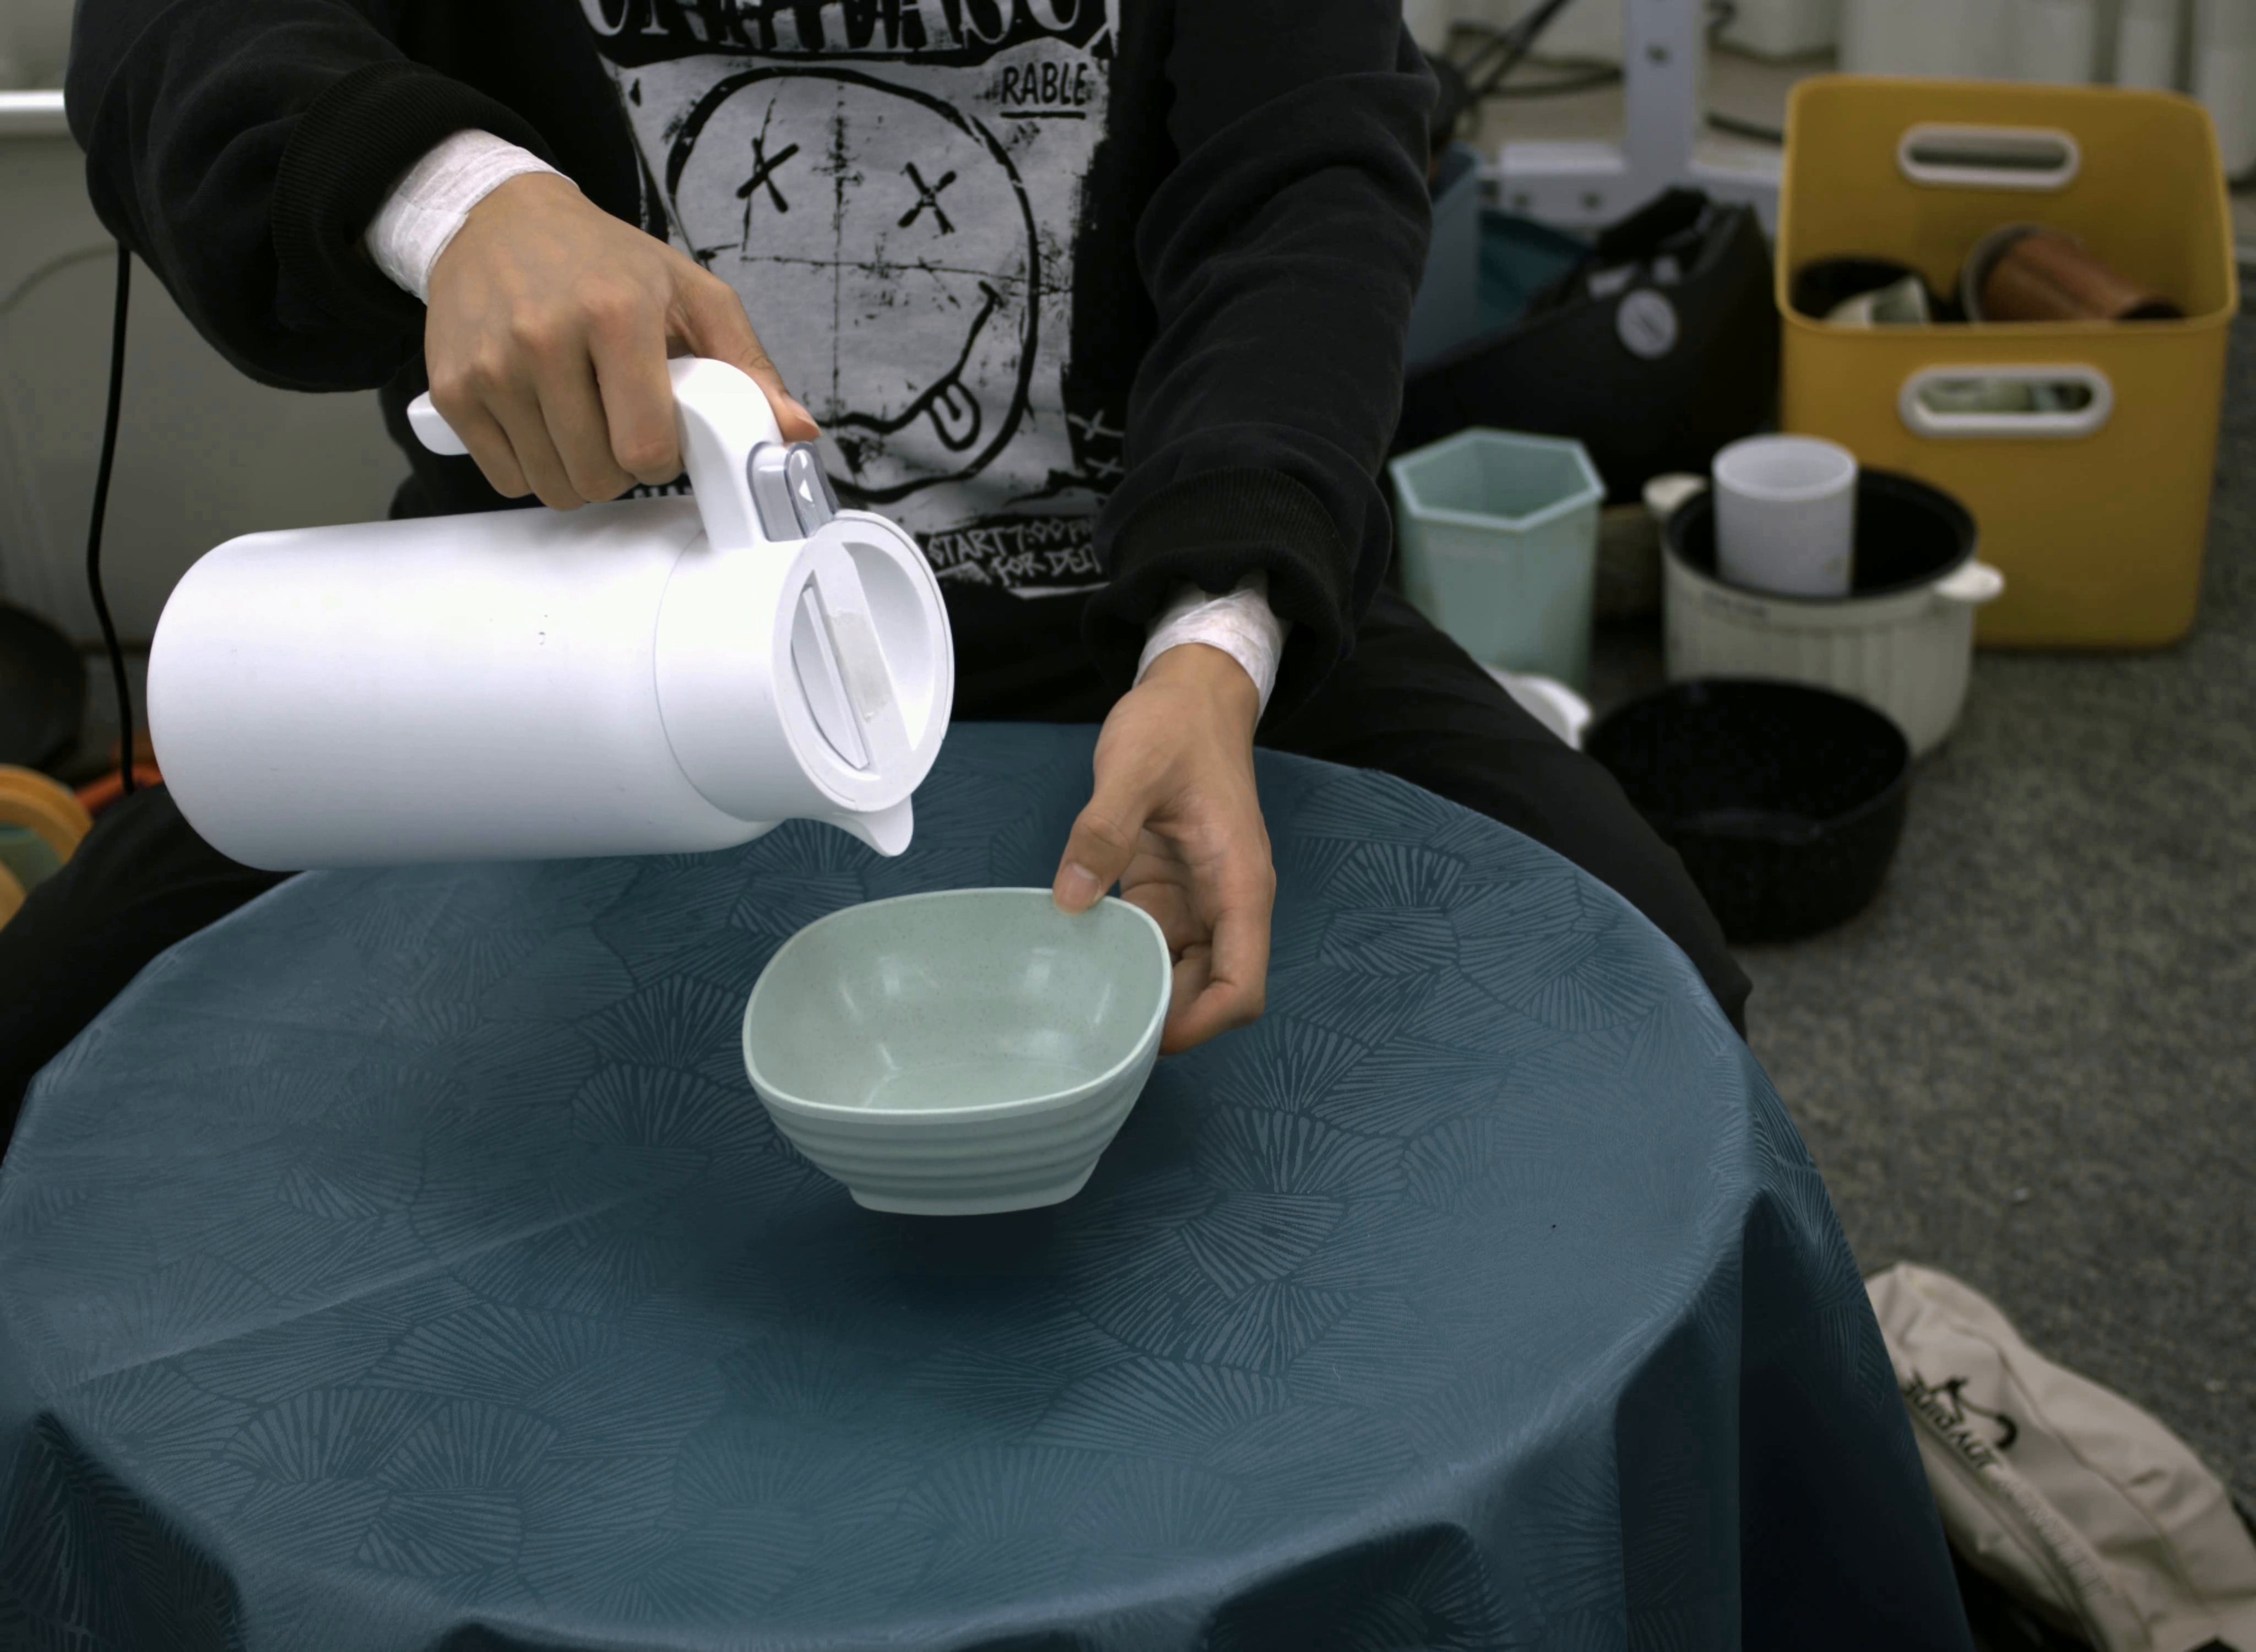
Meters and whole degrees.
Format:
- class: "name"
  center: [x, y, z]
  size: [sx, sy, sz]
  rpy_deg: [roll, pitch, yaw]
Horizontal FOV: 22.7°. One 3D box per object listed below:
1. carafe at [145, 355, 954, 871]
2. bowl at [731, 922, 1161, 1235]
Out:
- class: "carafe"
  center: [-0.198, -0.063, 1.855]
  size: [0.266, 0.172, 0.126]
  rpy_deg: [-3, 25, 35]
- class: "bowl"
  center: [-0.056, 0.087, 1.815]
  size: [0.150, 0.058, 0.153]
  rpy_deg: [-5, 23, 3]
